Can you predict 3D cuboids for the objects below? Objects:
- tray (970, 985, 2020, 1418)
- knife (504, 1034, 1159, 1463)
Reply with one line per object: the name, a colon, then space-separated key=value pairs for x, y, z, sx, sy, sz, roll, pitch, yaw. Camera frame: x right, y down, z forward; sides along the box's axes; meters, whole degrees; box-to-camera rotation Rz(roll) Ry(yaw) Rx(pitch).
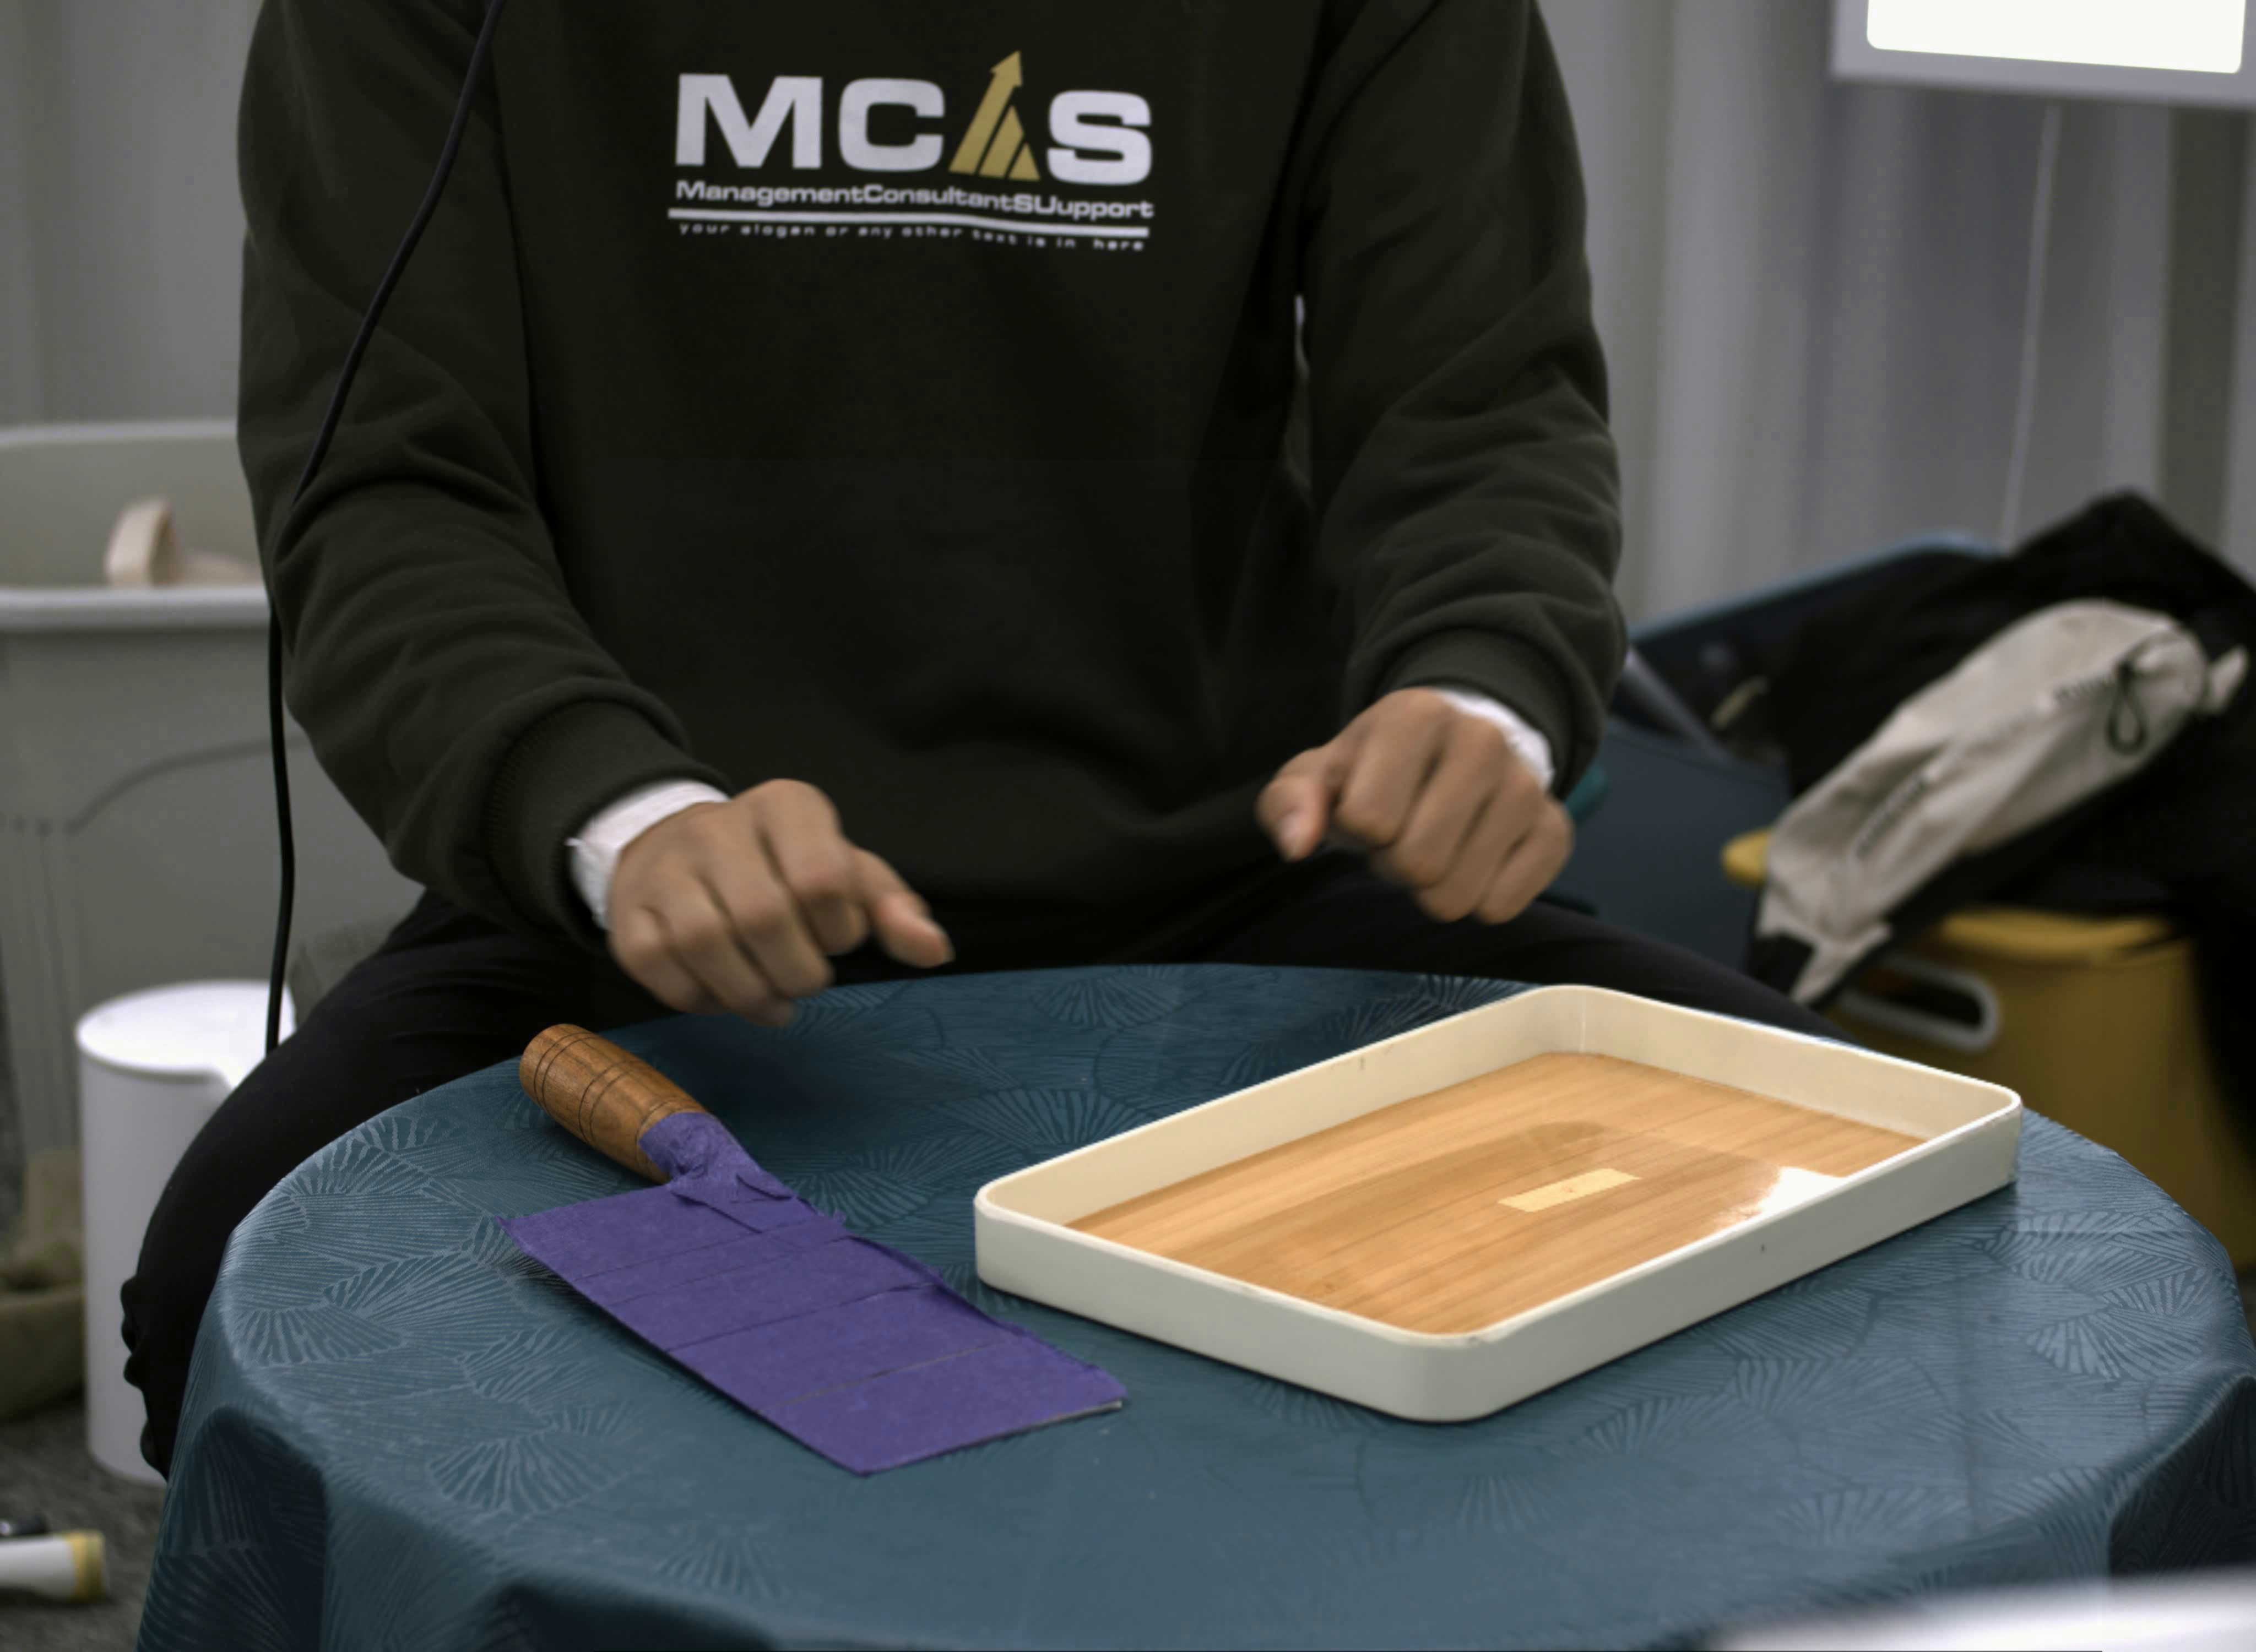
tray: x=0.115 y=0.108 z=1.594 sx=0.189 sy=0.027 sz=0.302 roll=13 pitch=20 yaw=40
knife: x=-0.121 y=0.120 z=1.541 sx=0.104 sy=0.032 sz=0.311 roll=-9 pitch=19 yaw=-35
